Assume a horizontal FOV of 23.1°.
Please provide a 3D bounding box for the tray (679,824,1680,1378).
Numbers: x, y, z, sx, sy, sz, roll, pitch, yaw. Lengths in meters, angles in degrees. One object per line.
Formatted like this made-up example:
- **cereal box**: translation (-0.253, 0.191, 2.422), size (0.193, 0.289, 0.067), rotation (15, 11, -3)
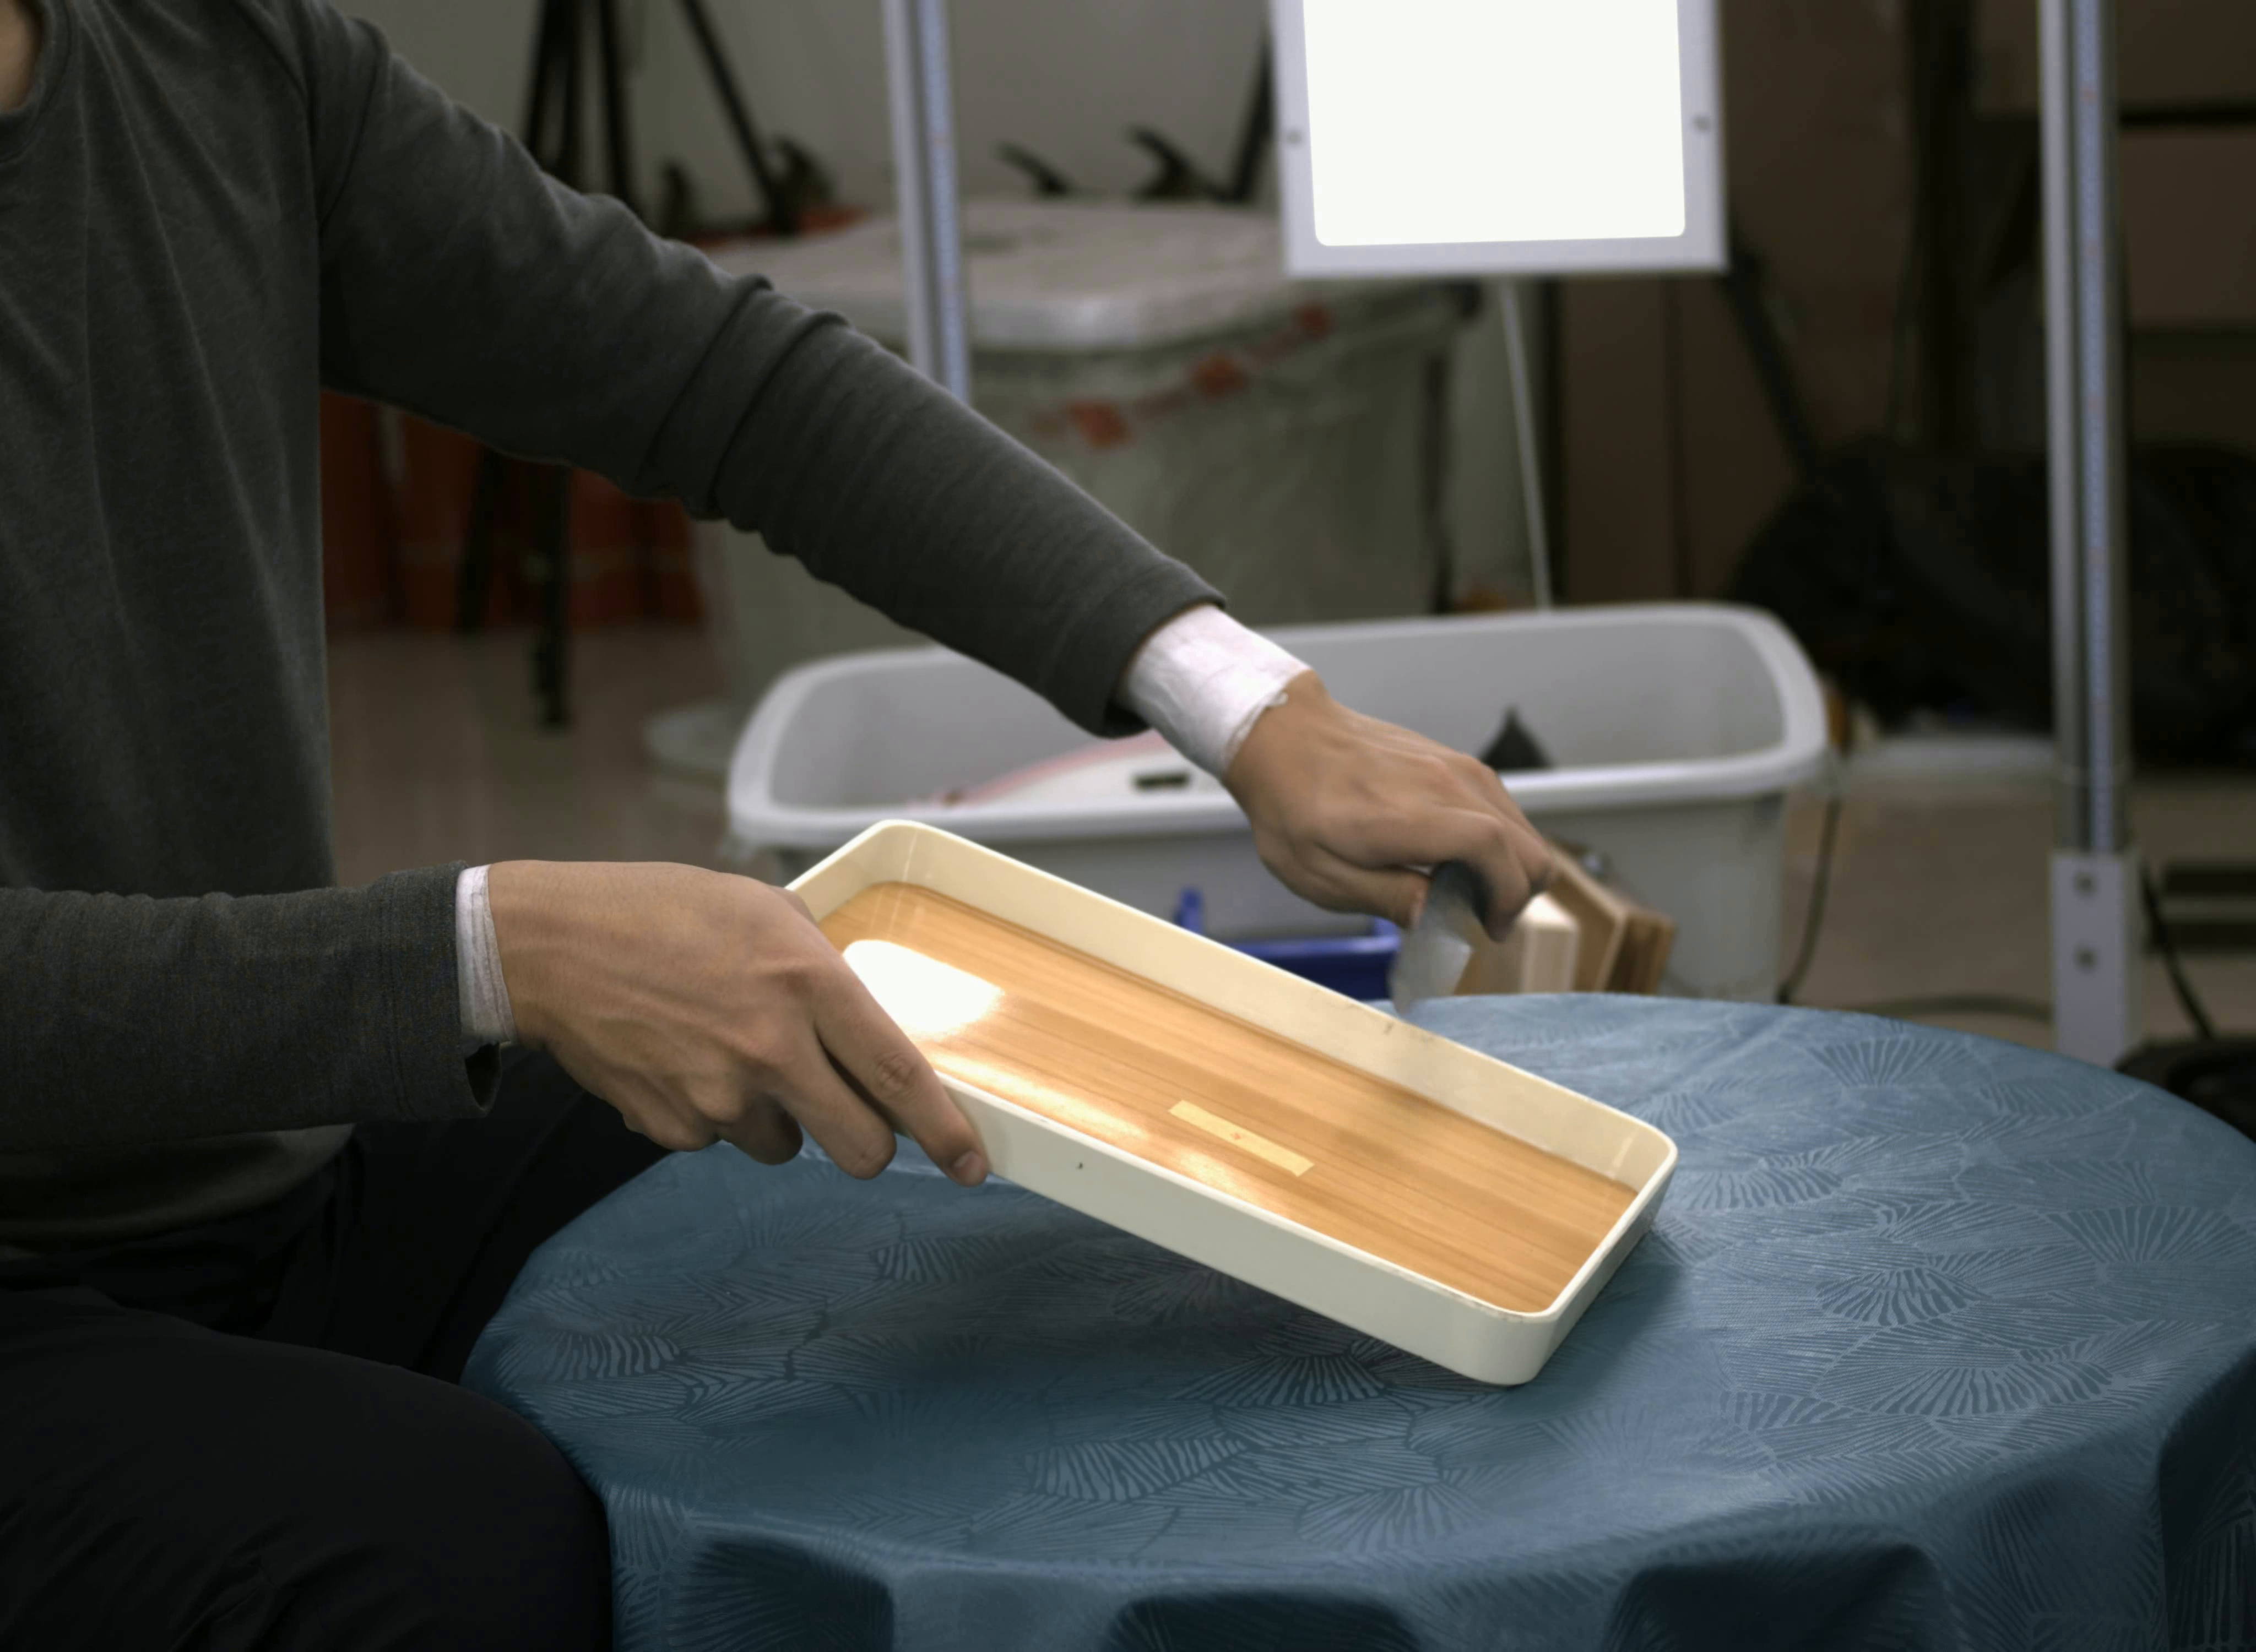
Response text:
- **tray**: translation (0.020, 0.085, 1.785), size (0.303, 0.027, 0.188), rotation (22, 21, 15)

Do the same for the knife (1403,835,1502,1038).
- **knife**: translation (0.110, 0.038, 1.890), size (0.024, 0.016, 0.236), rotation (23, 16, 2)
